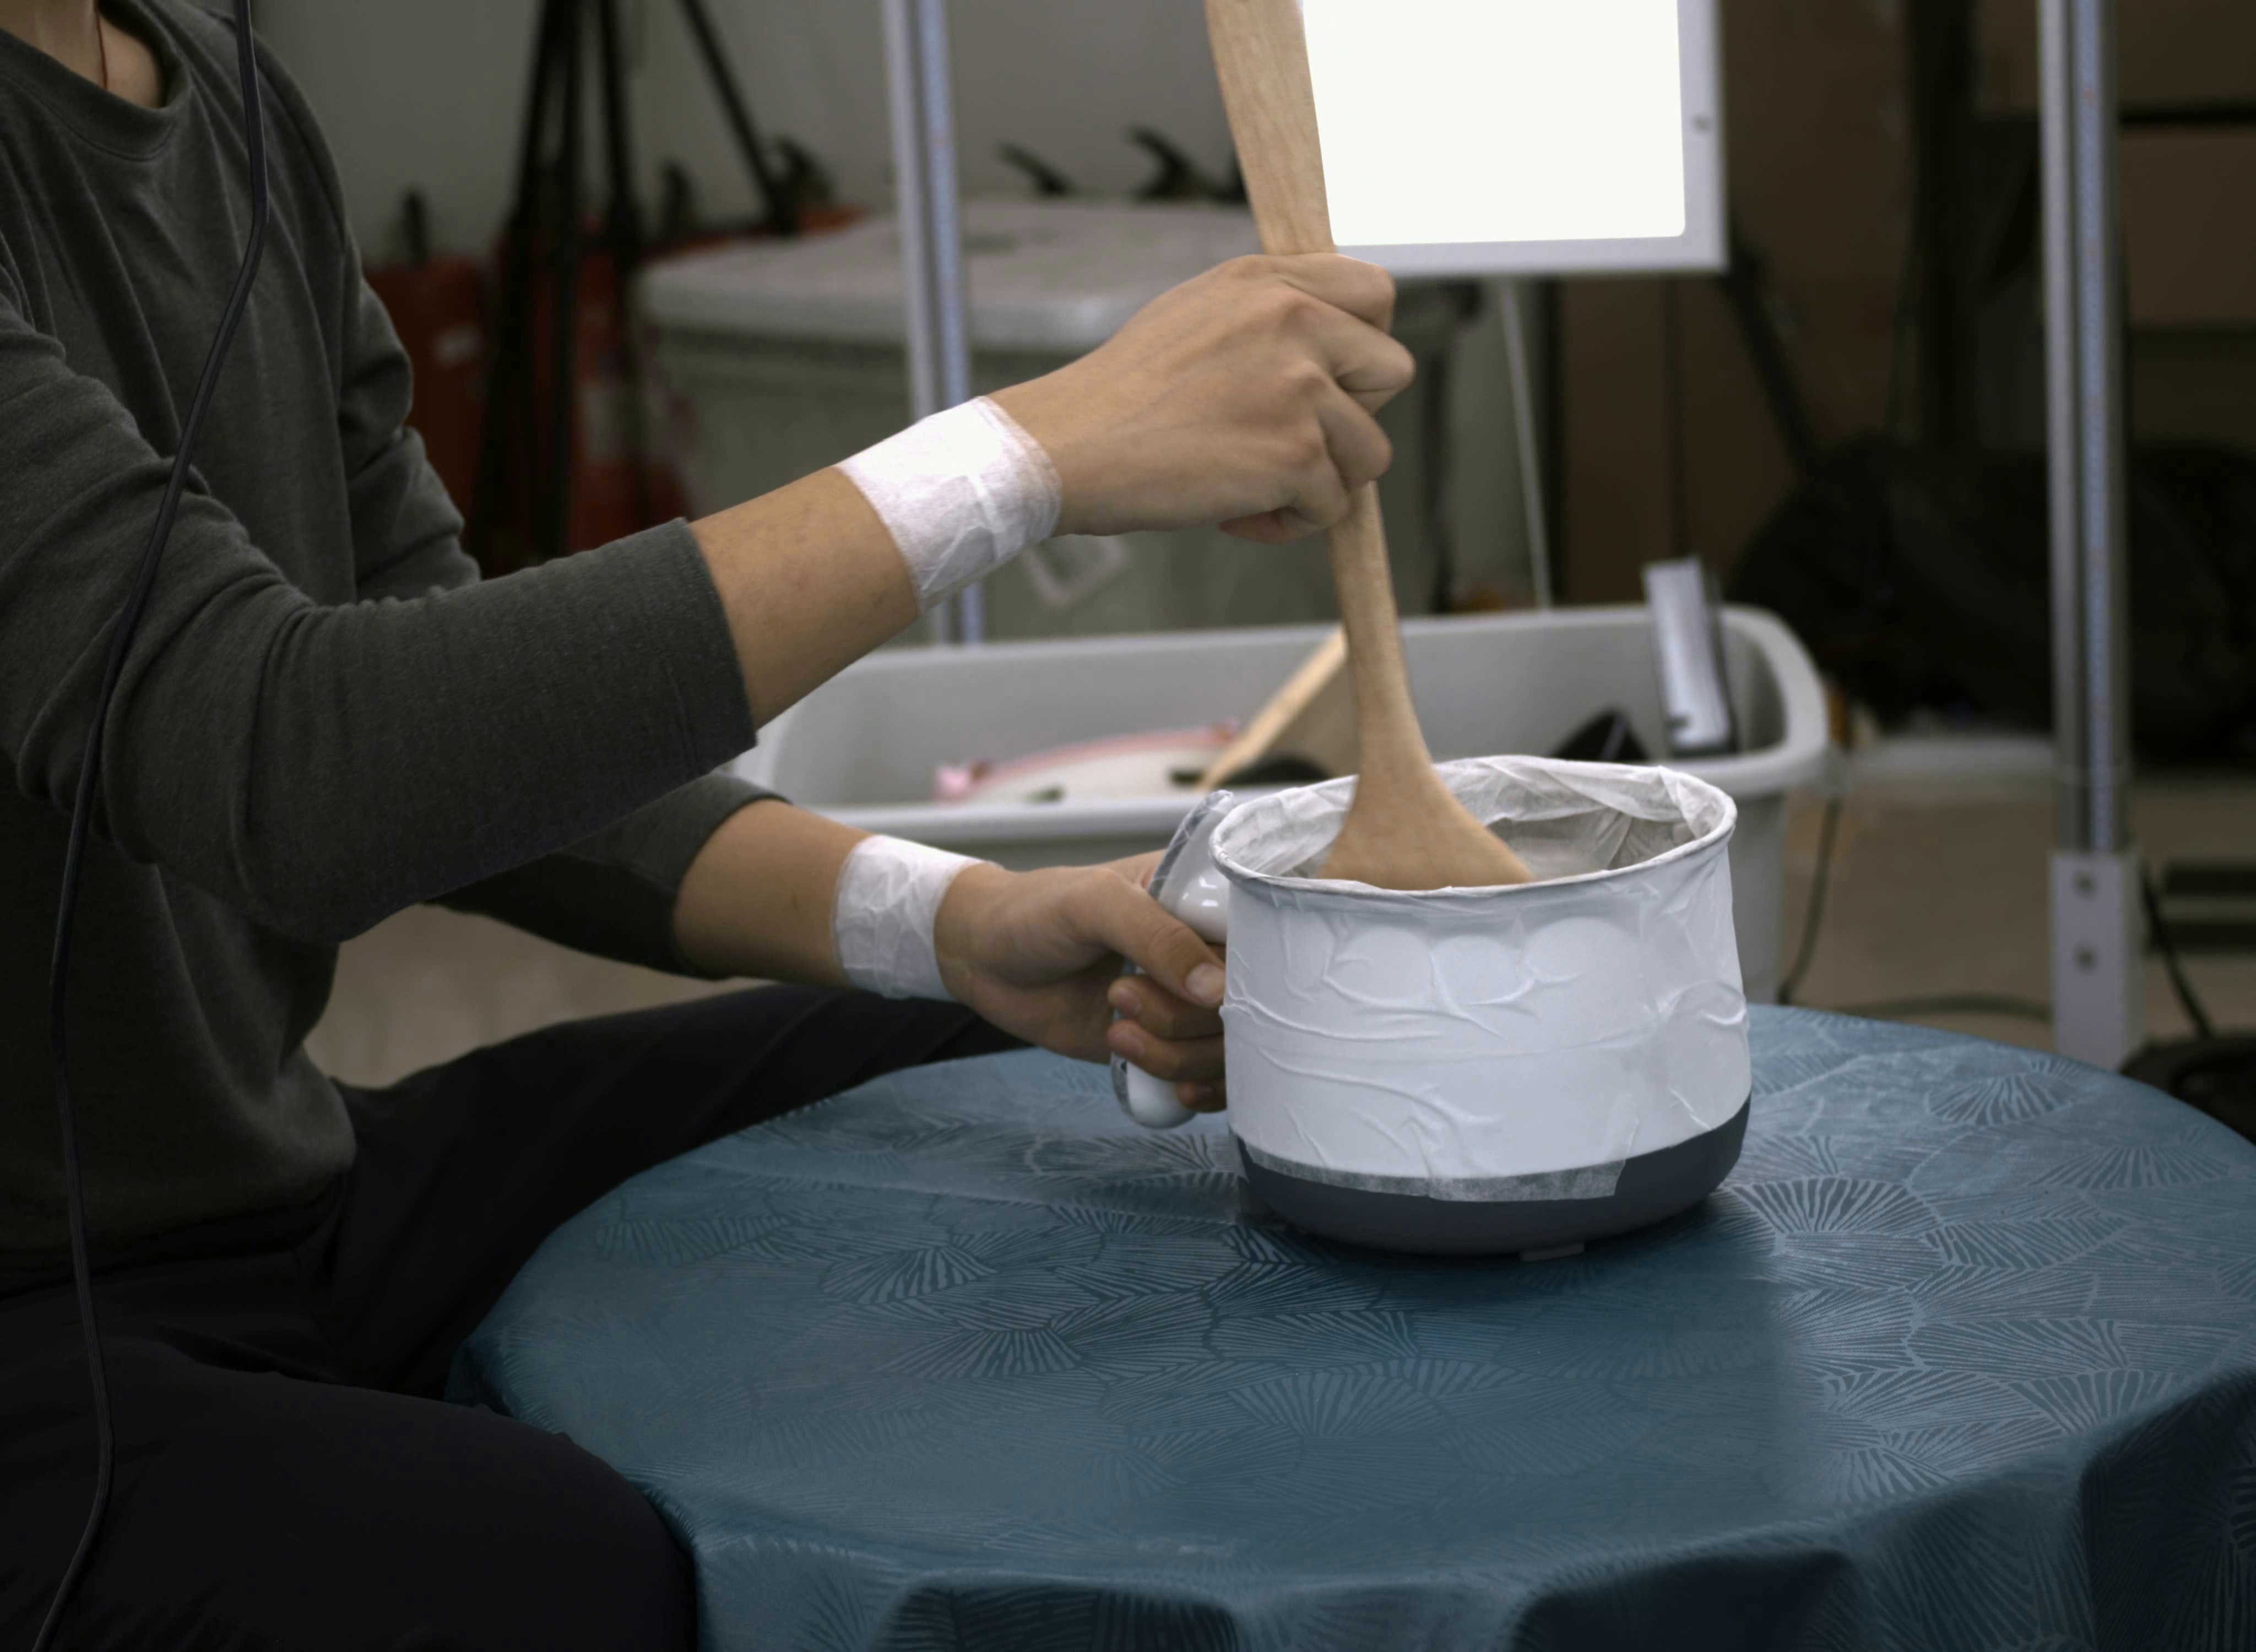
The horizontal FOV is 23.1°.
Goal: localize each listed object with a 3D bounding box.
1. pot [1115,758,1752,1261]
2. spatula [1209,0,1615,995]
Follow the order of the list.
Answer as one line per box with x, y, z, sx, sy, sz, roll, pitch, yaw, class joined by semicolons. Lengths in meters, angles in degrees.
0.096;0.058;1.858;0.238;0.137;0.174;4;16;33;pot
0.081;-0.099;1.764;0.097;0.392;0.018;-8;10;21;spatula
